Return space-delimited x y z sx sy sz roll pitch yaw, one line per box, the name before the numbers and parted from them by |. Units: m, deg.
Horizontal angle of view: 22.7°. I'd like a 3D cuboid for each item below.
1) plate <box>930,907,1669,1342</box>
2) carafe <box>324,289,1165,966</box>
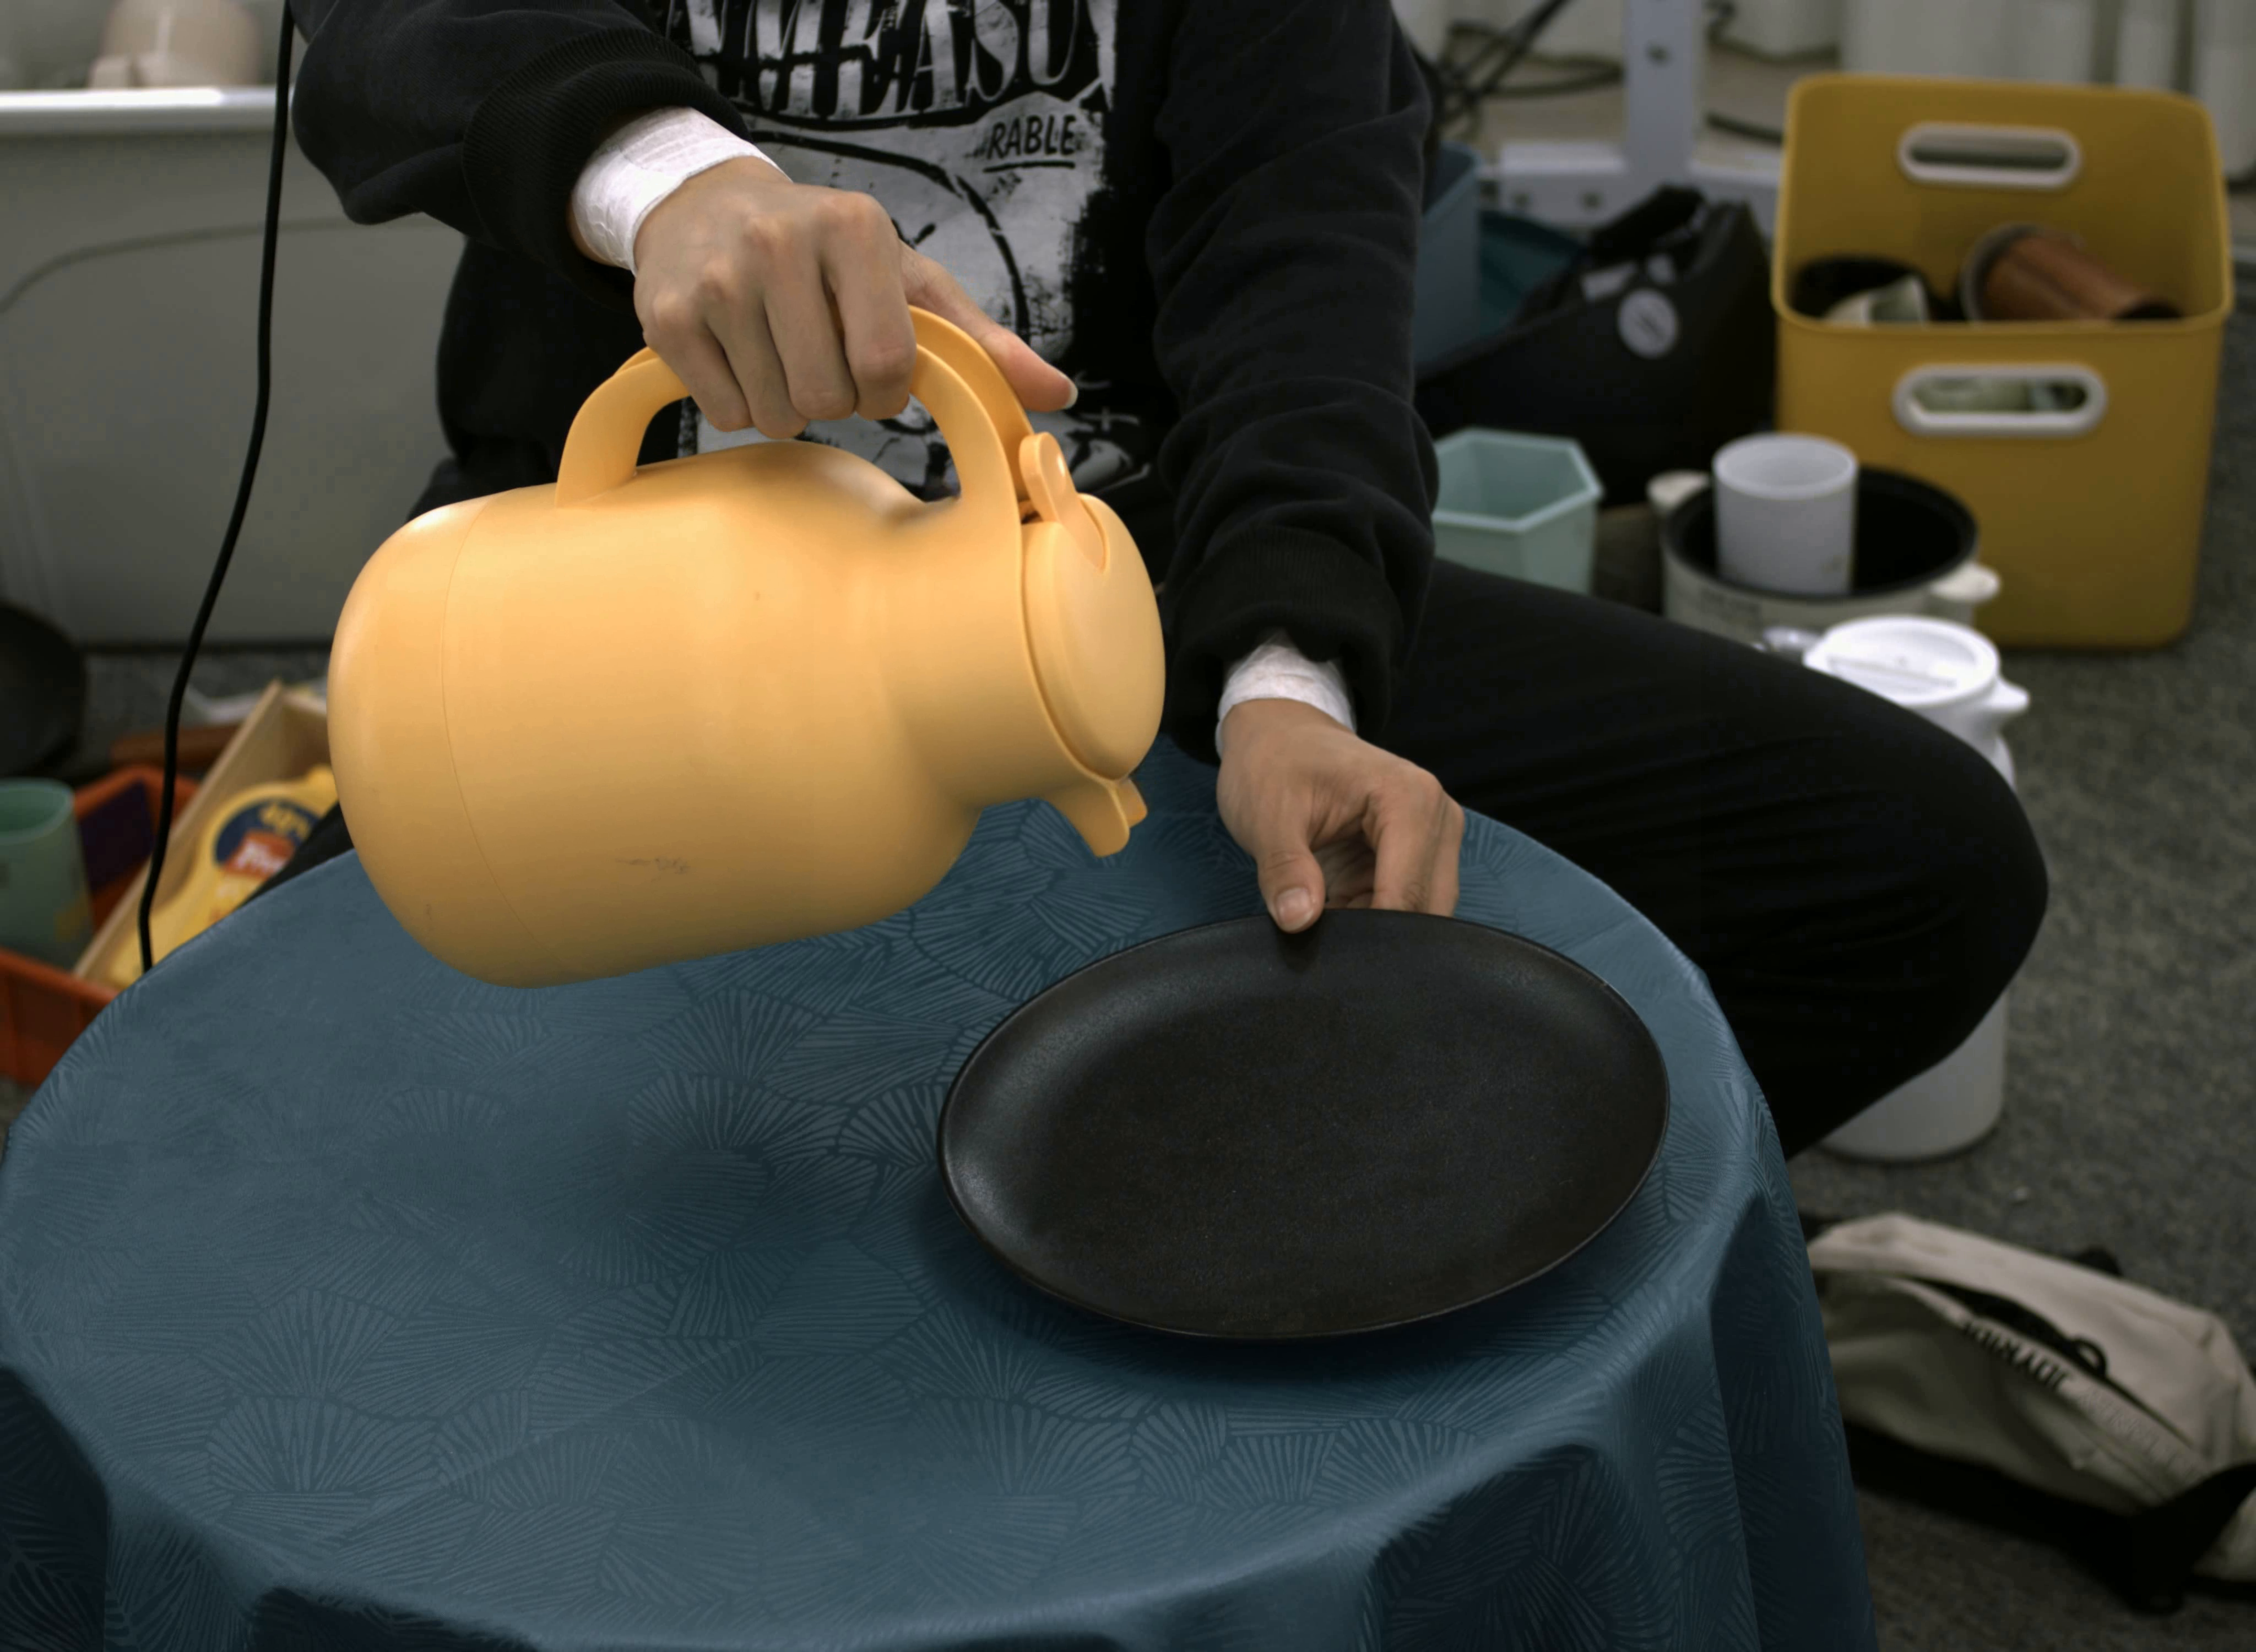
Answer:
plate | 0.057 0.102 1.849 0.243 0.023 0.248 -4 31 3
carafe | -0.123 -0.065 1.808 0.258 0.201 0.166 -8 16 19
